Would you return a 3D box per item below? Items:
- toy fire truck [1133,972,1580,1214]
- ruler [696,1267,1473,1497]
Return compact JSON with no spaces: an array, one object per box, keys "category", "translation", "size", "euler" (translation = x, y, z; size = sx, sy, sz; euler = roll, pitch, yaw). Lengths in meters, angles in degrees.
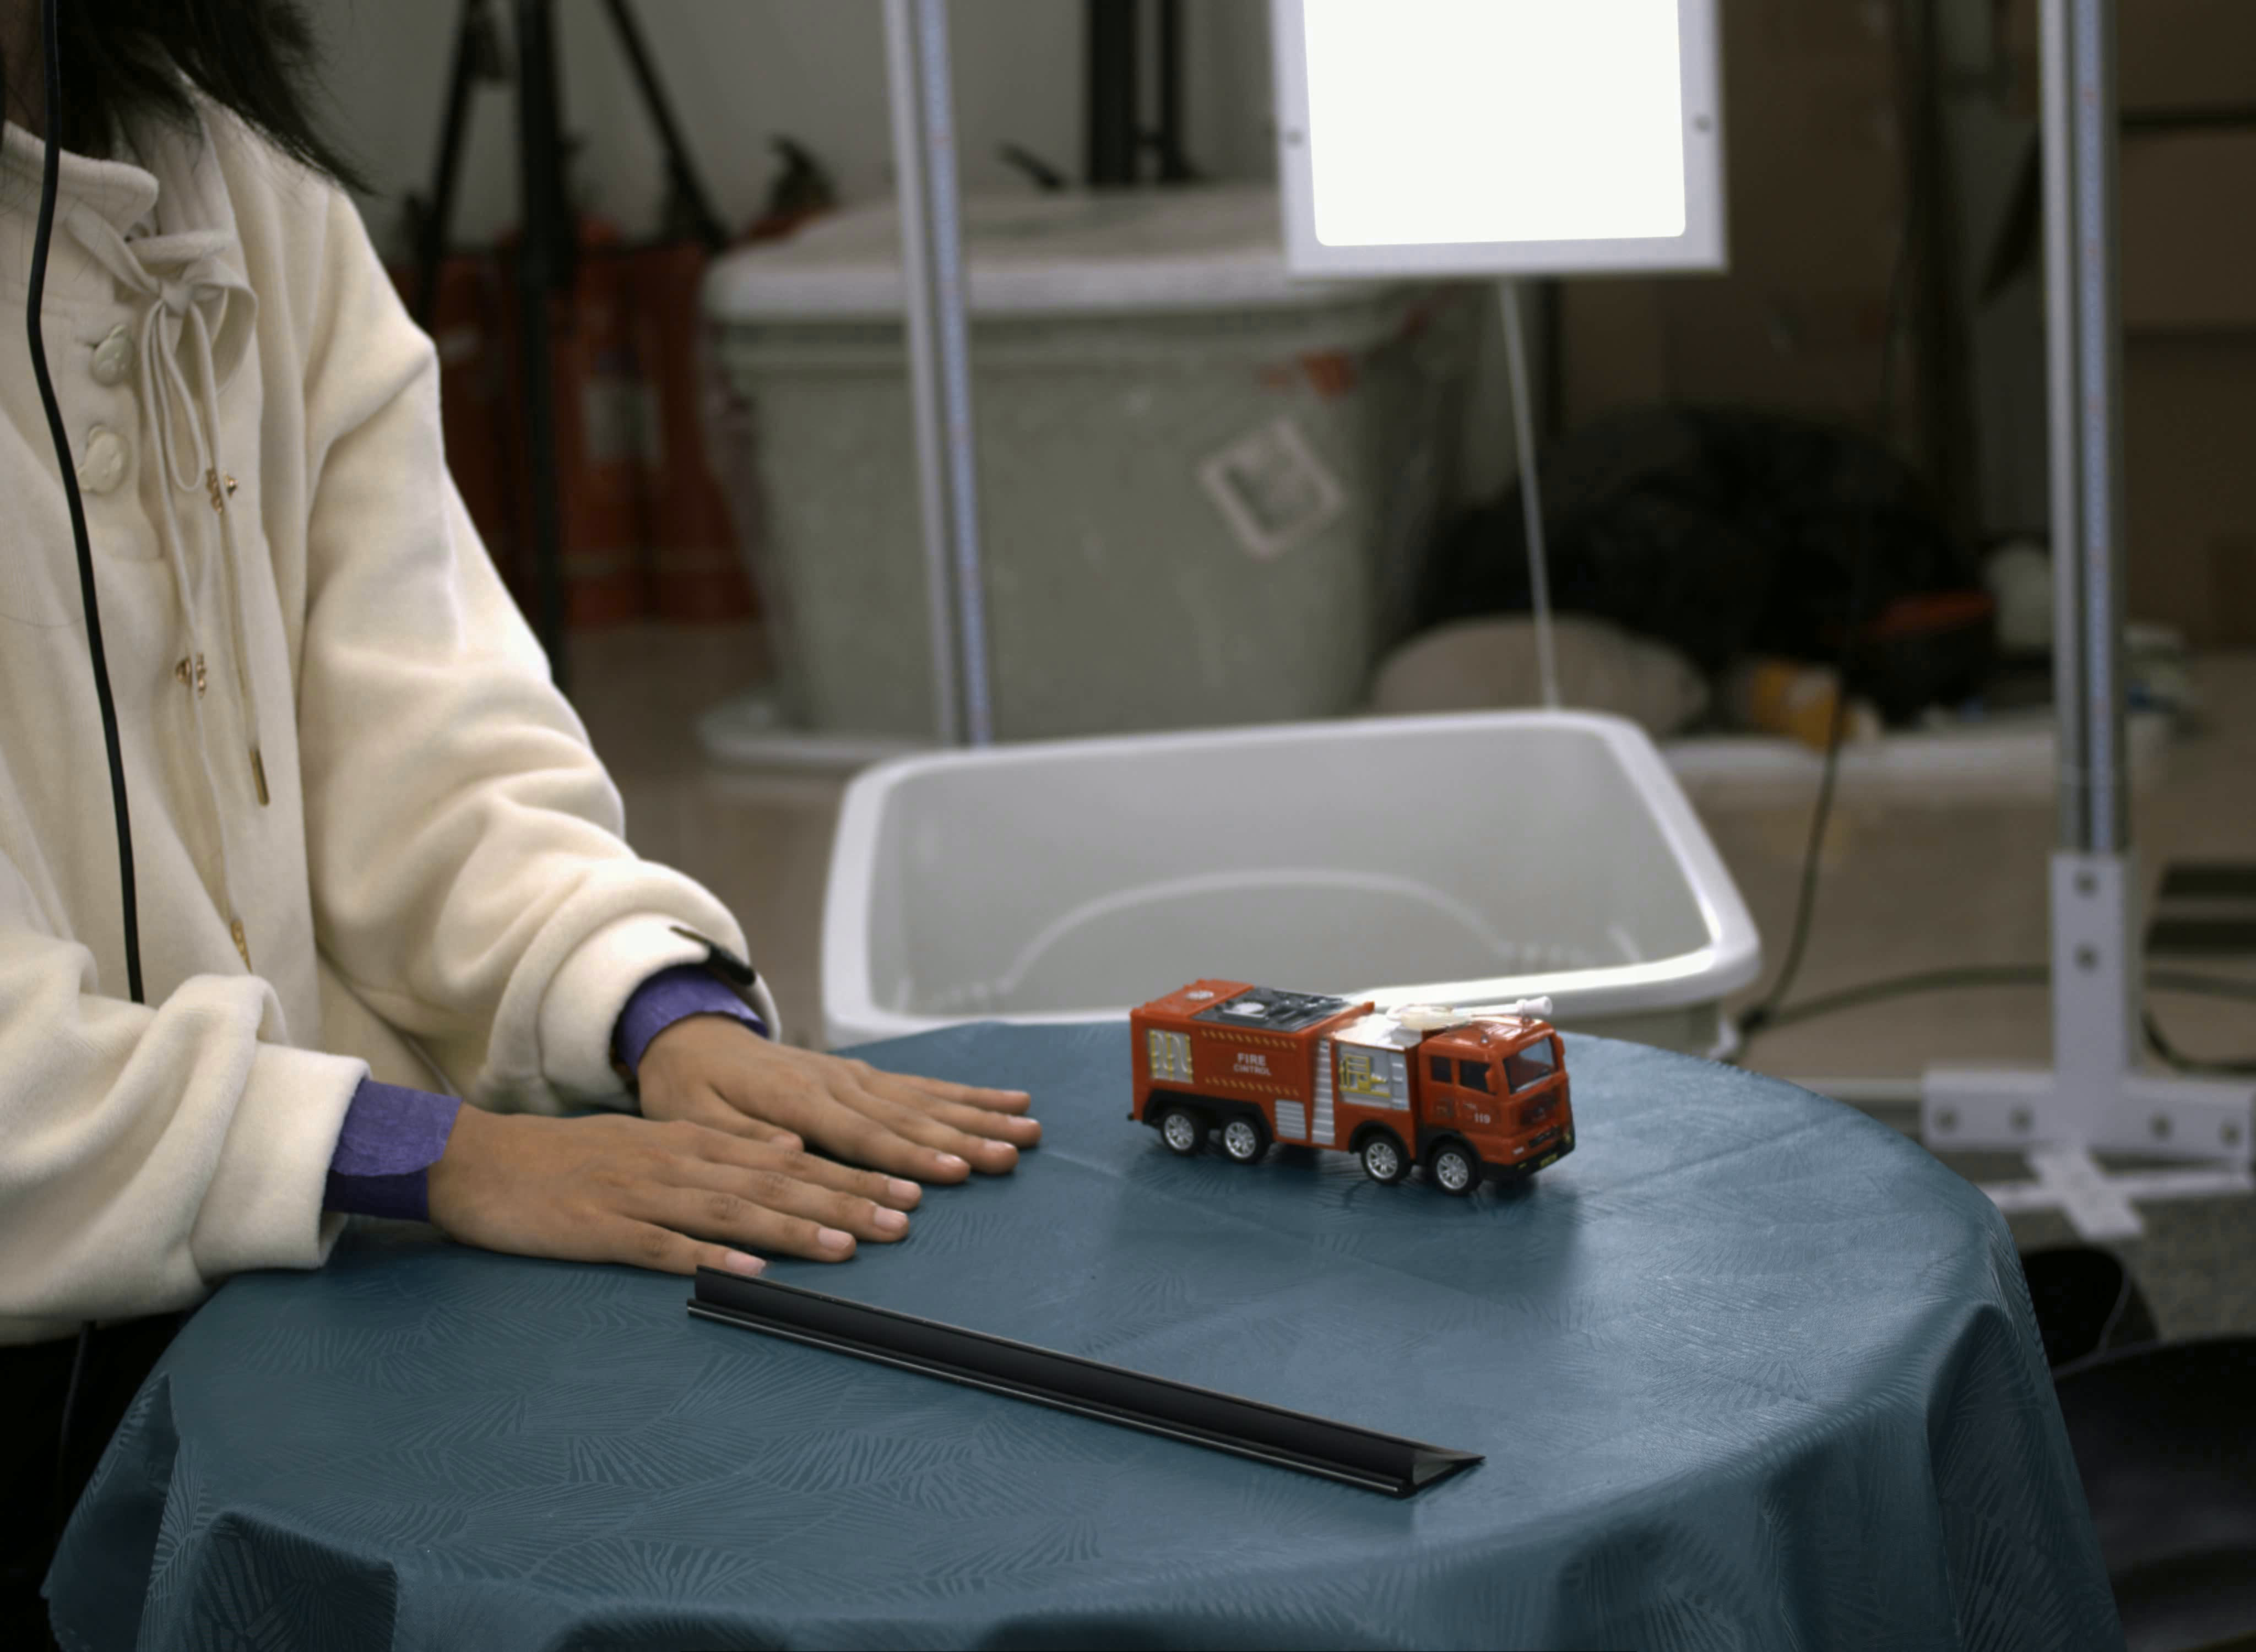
[{"category":"toy fire truck","translation":[0.078,0.088,1.904],"size":[0.171,0.070,0.052],"euler":[4,17,38]},{"category":"ruler","translation":[-0.019,0.166,1.710],"size":[0.038,0.017,0.319],"euler":[-13,15,-42]}]
